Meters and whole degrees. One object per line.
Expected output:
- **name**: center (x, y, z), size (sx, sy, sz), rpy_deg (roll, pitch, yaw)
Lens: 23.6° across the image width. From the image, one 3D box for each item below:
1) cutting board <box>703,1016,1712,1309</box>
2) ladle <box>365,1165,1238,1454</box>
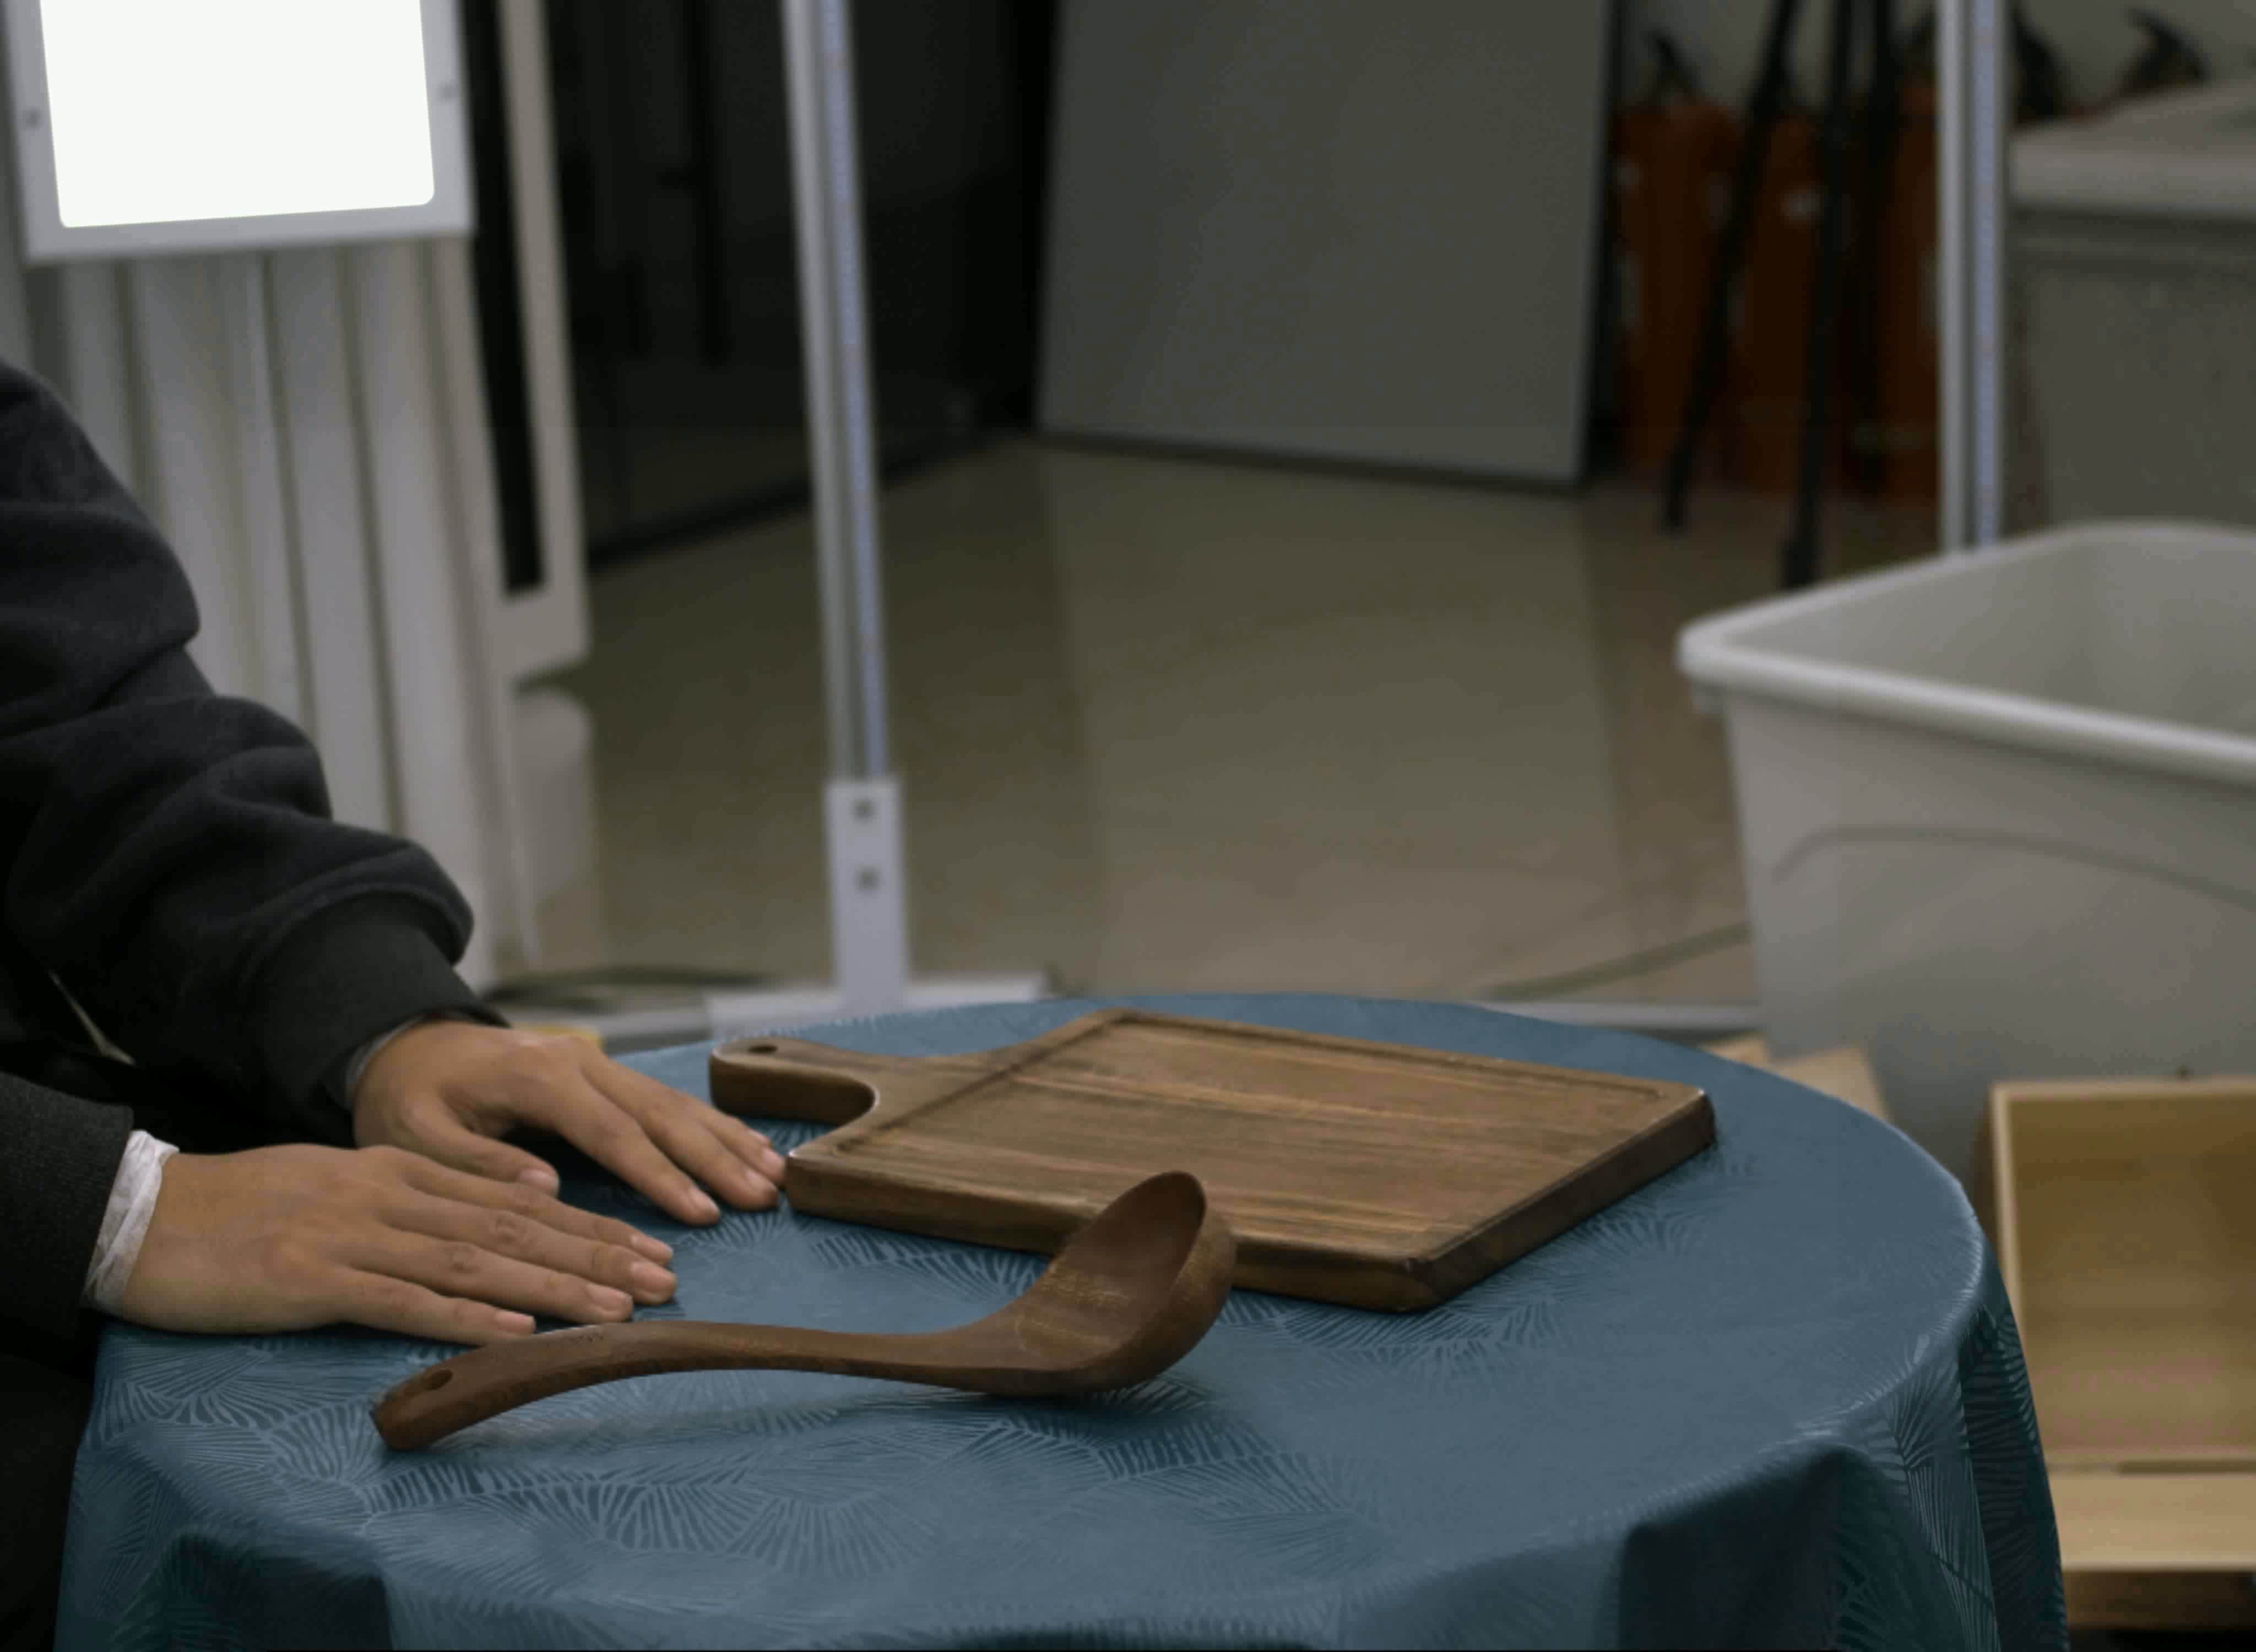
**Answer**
- **cutting board**: center (0.001, 0.102, 1.799), size (0.354, 0.023, 0.197), rpy_deg (6, 16, 35)
- **ladle**: center (-0.095, 0.142, 1.574), size (0.256, 0.066, 0.077), rpy_deg (-4, 21, -1)
